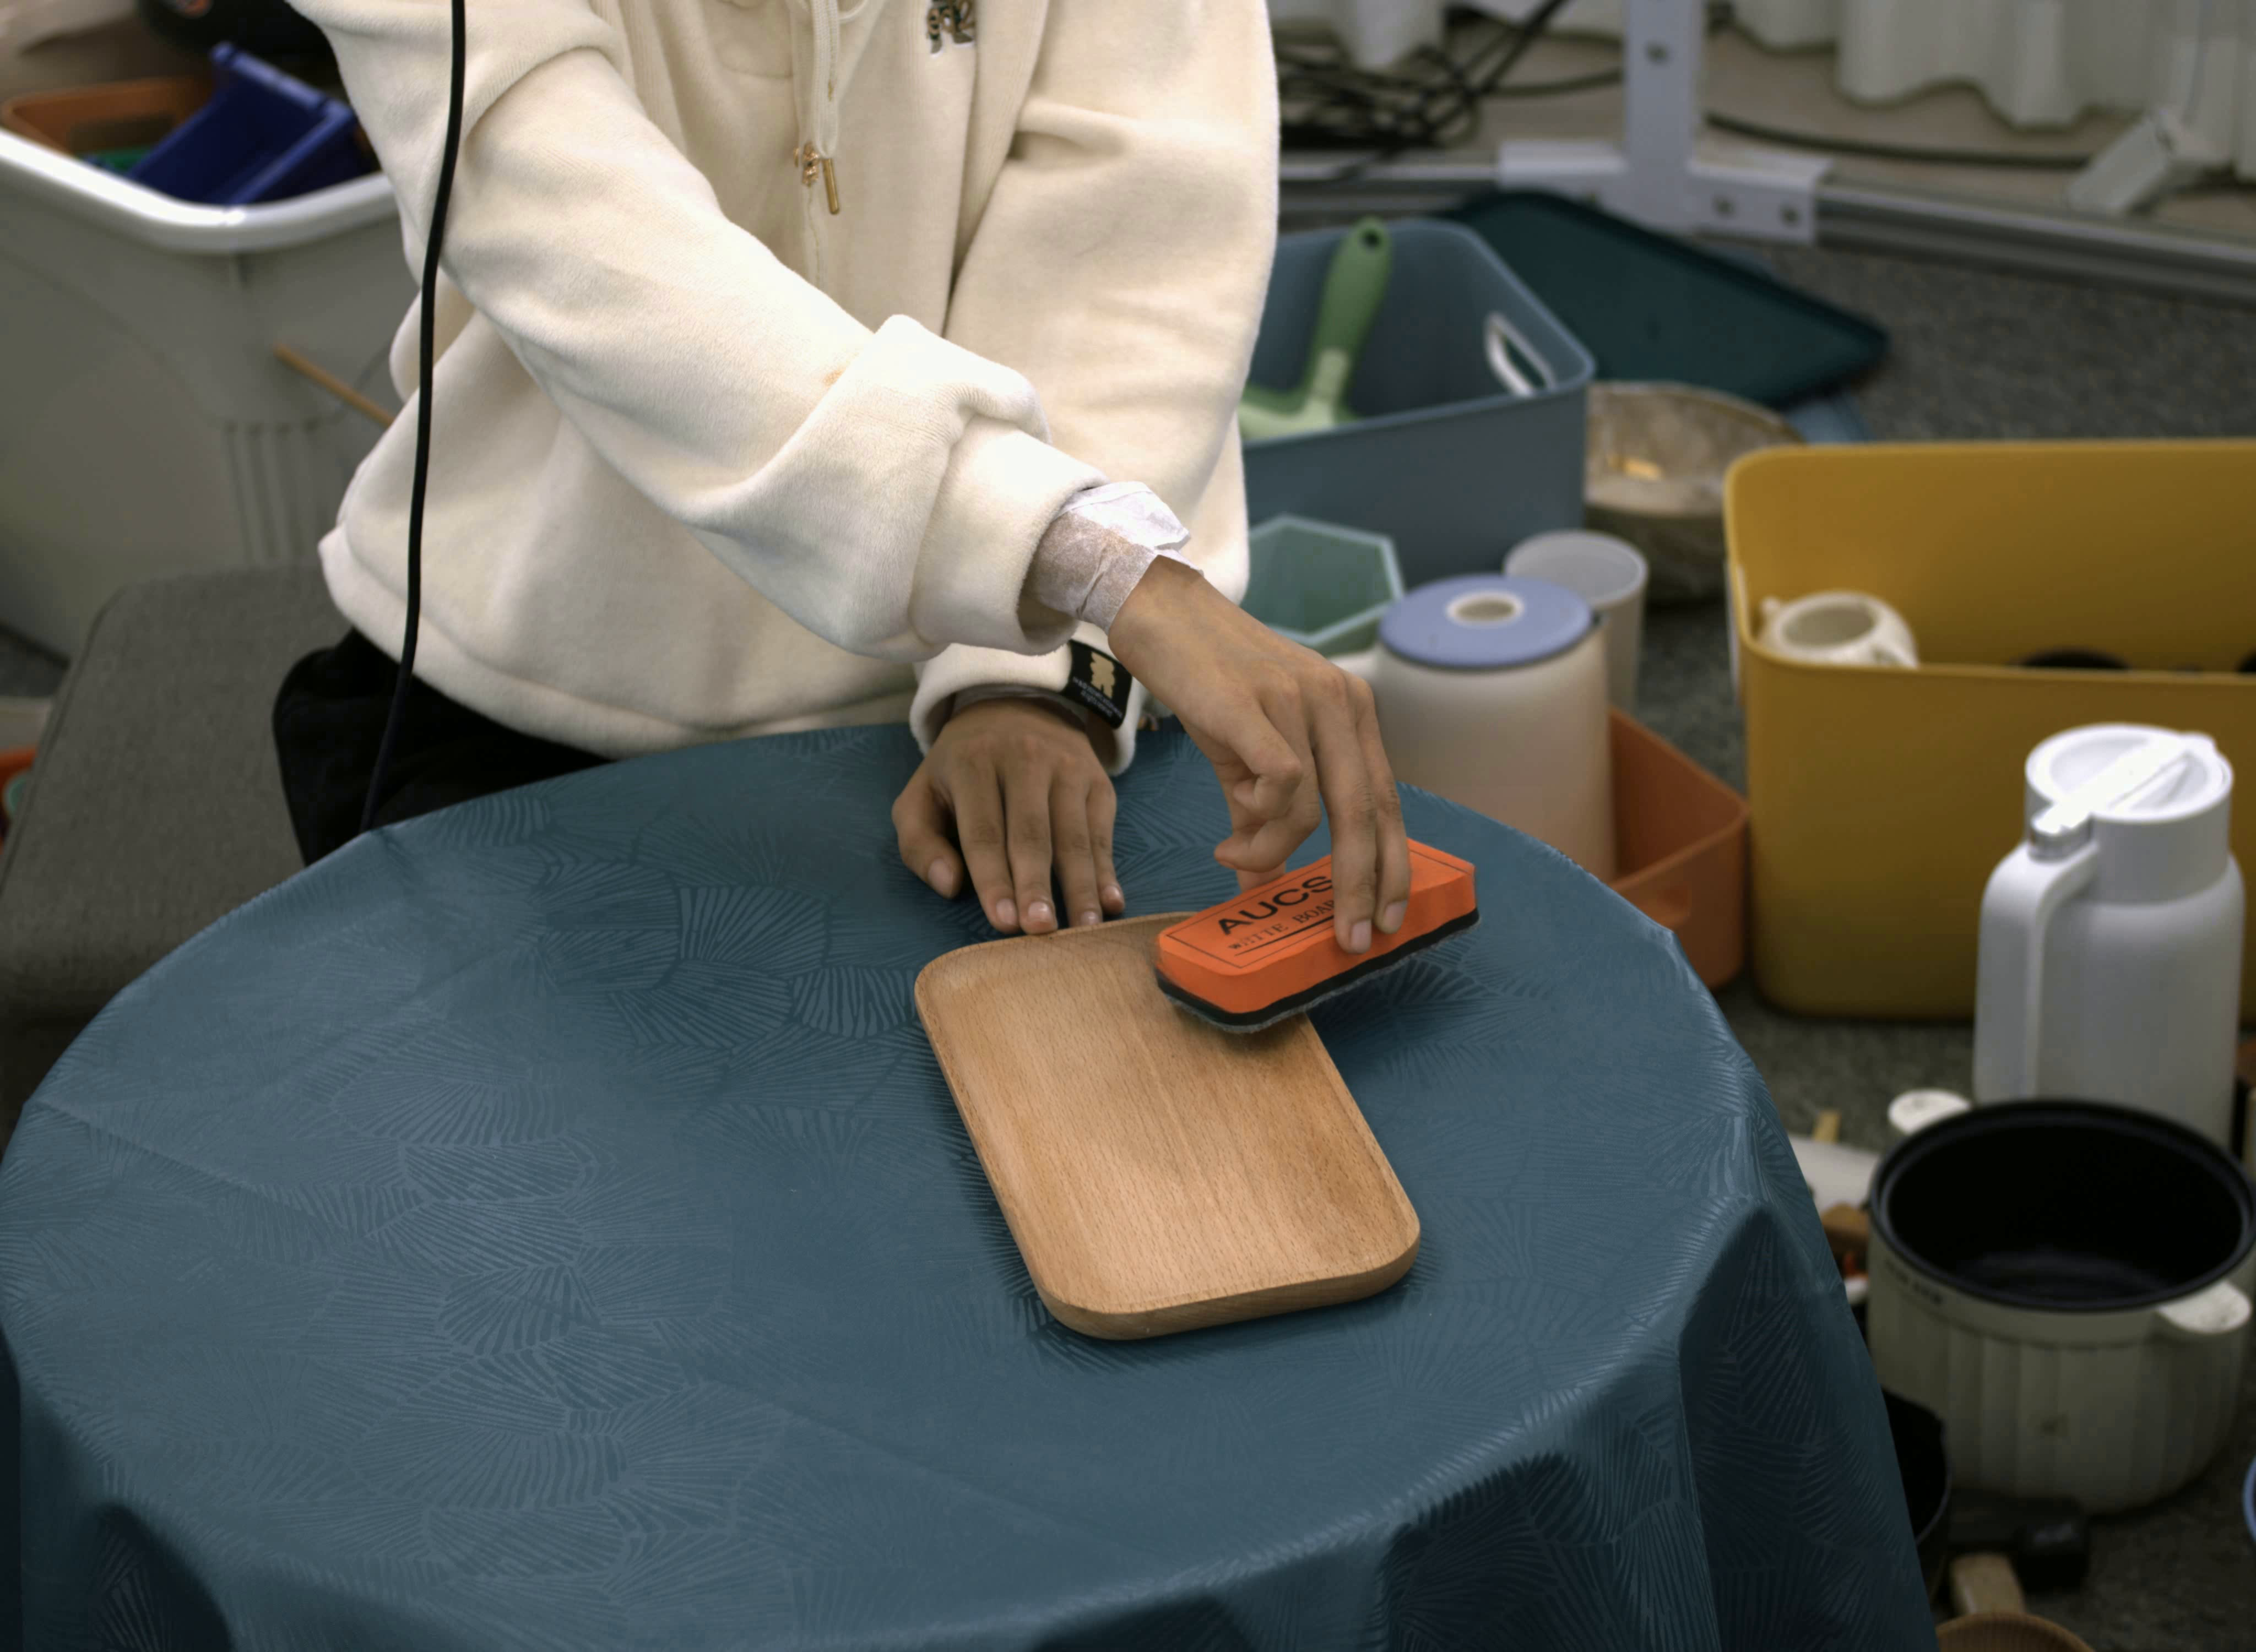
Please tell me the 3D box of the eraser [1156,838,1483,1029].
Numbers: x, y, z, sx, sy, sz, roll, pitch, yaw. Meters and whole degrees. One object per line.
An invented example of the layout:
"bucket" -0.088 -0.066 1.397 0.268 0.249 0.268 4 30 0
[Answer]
"eraser" 0.067 0.037 1.955 0.109 0.022 0.059 -22 26 -28

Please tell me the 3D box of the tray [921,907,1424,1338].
"tray" 0.011 0.097 1.888 0.130 0.022 0.253 -6 27 -11
